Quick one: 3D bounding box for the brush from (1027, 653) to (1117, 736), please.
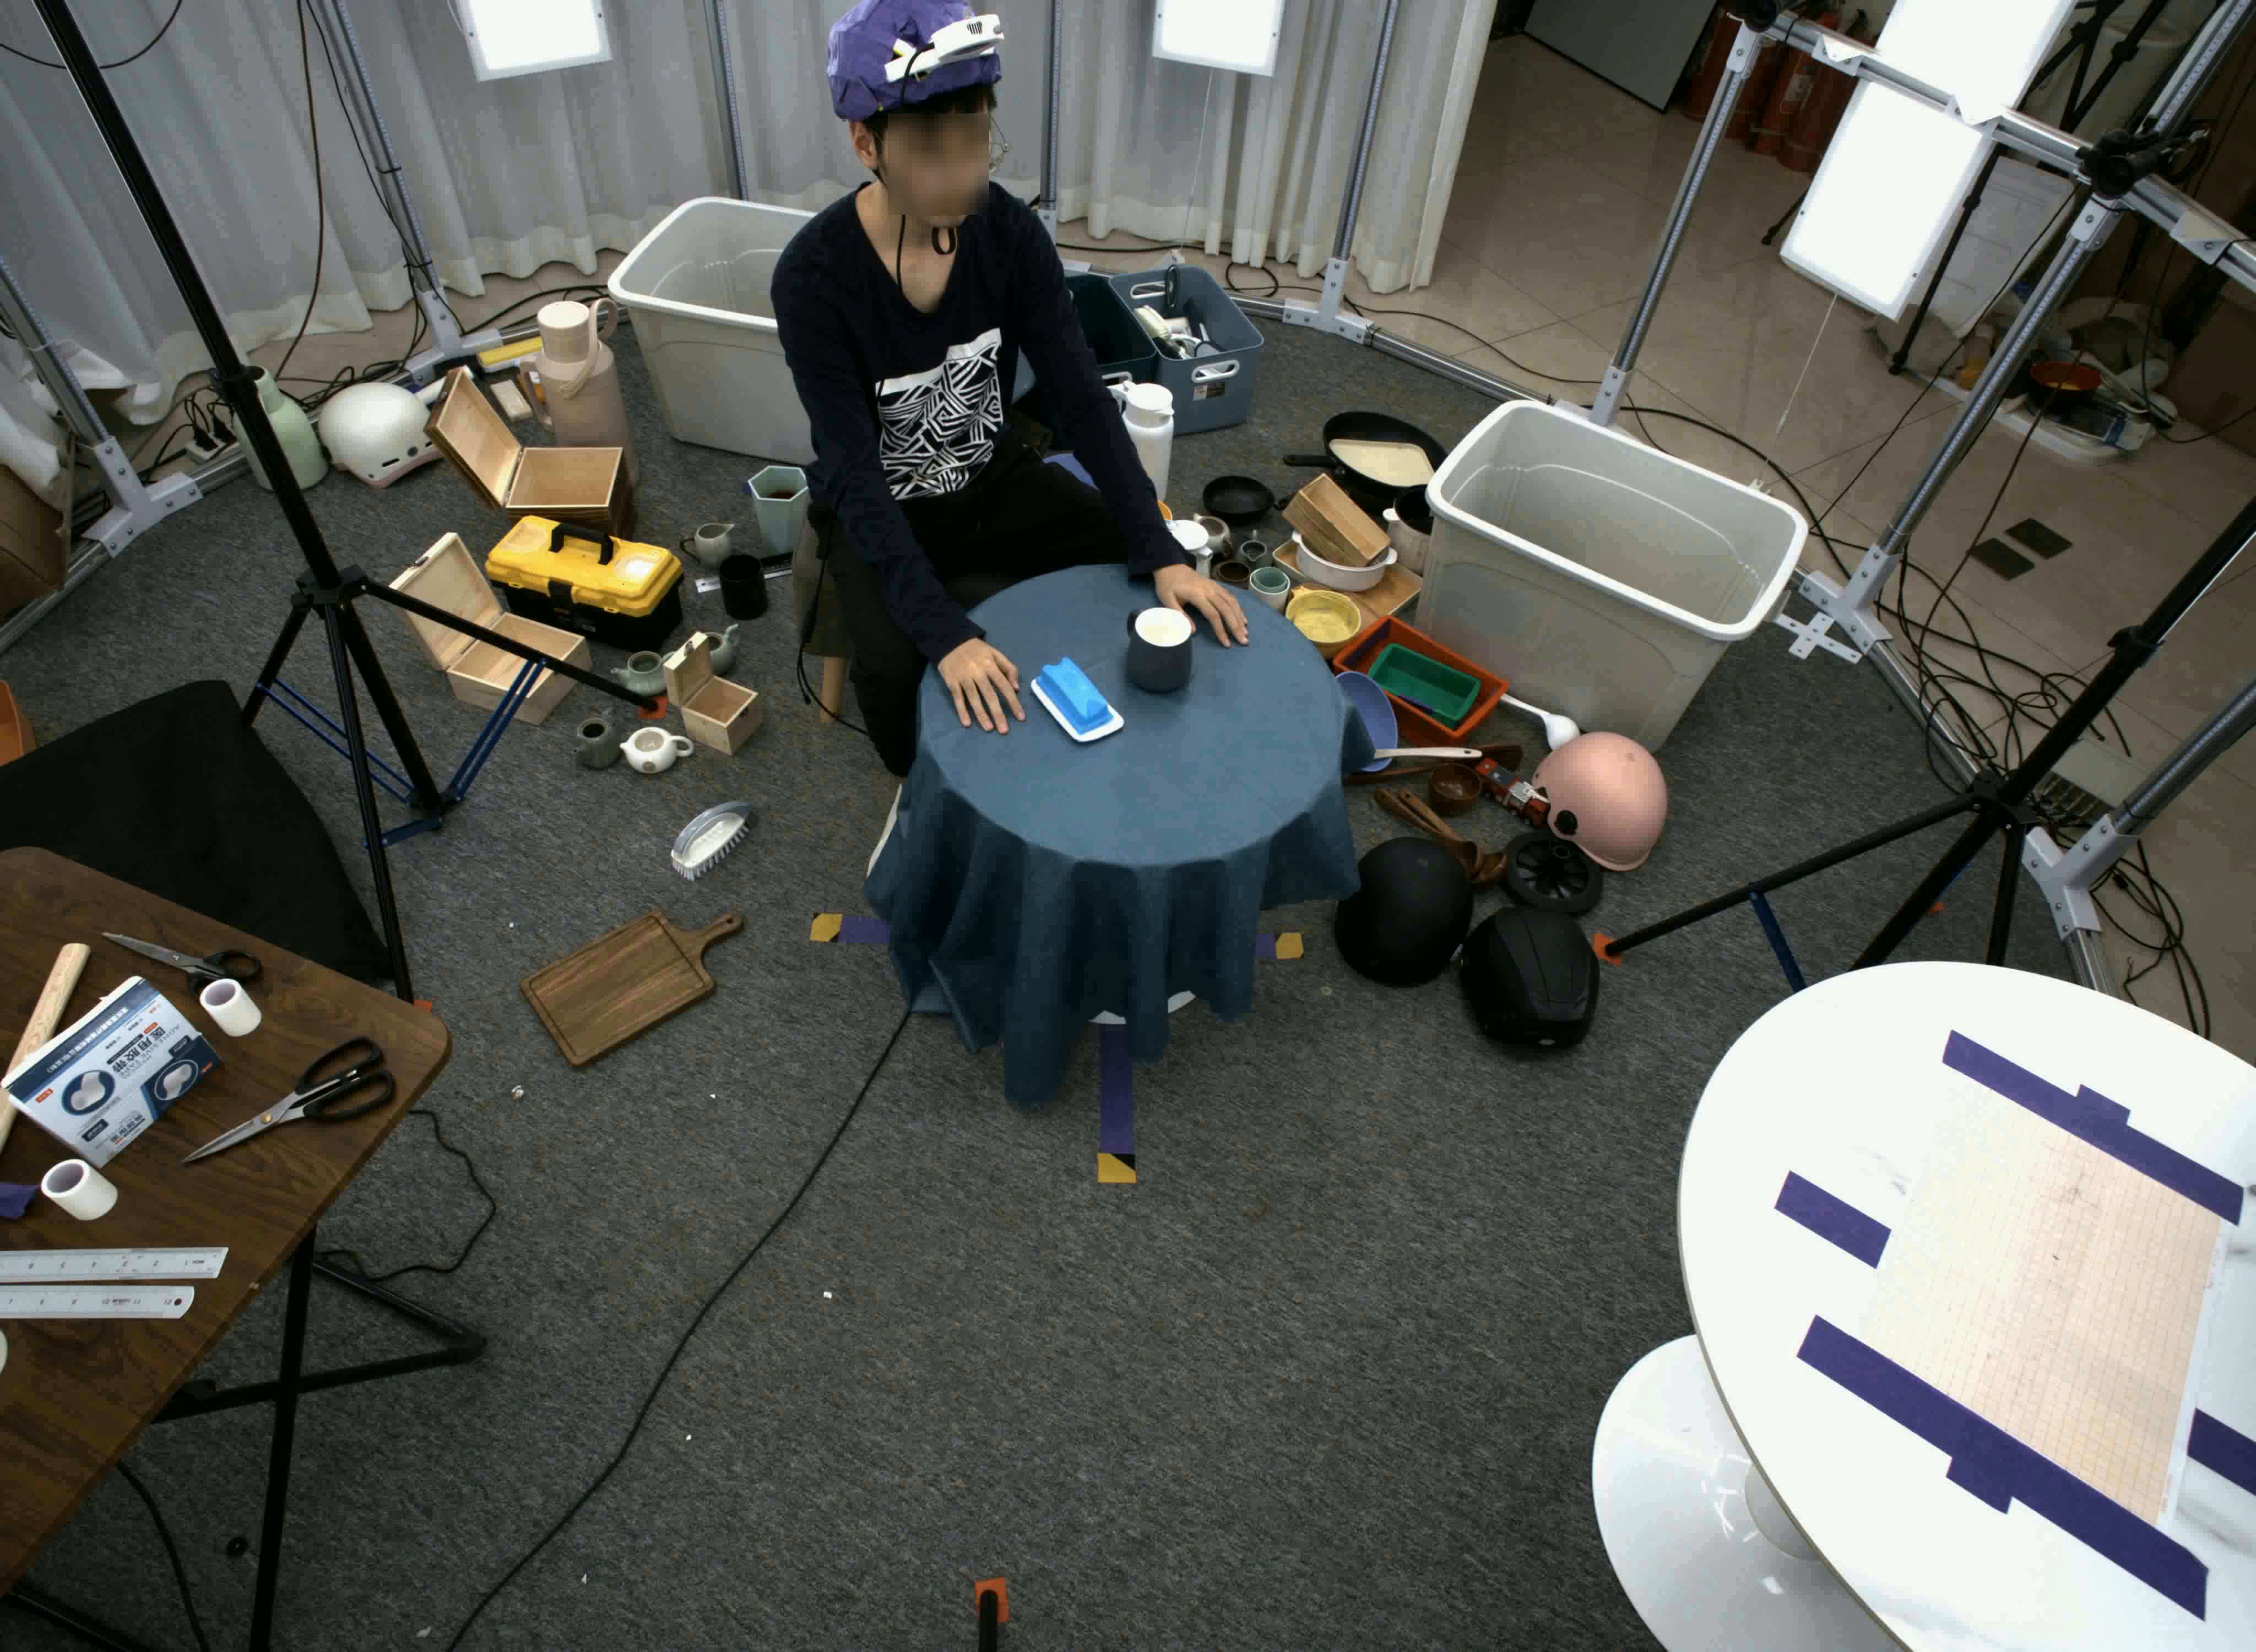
[{"bbox_3d":[-0.076,-0.190,1.788,0.084,0.054,0.147,-20,55,-24],"label":"brush"}]

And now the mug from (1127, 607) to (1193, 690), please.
[{"bbox_3d":[0.040,-0.262,1.837,0.094,0.088,0.126,-22,56,-24],"label":"mug"}]
